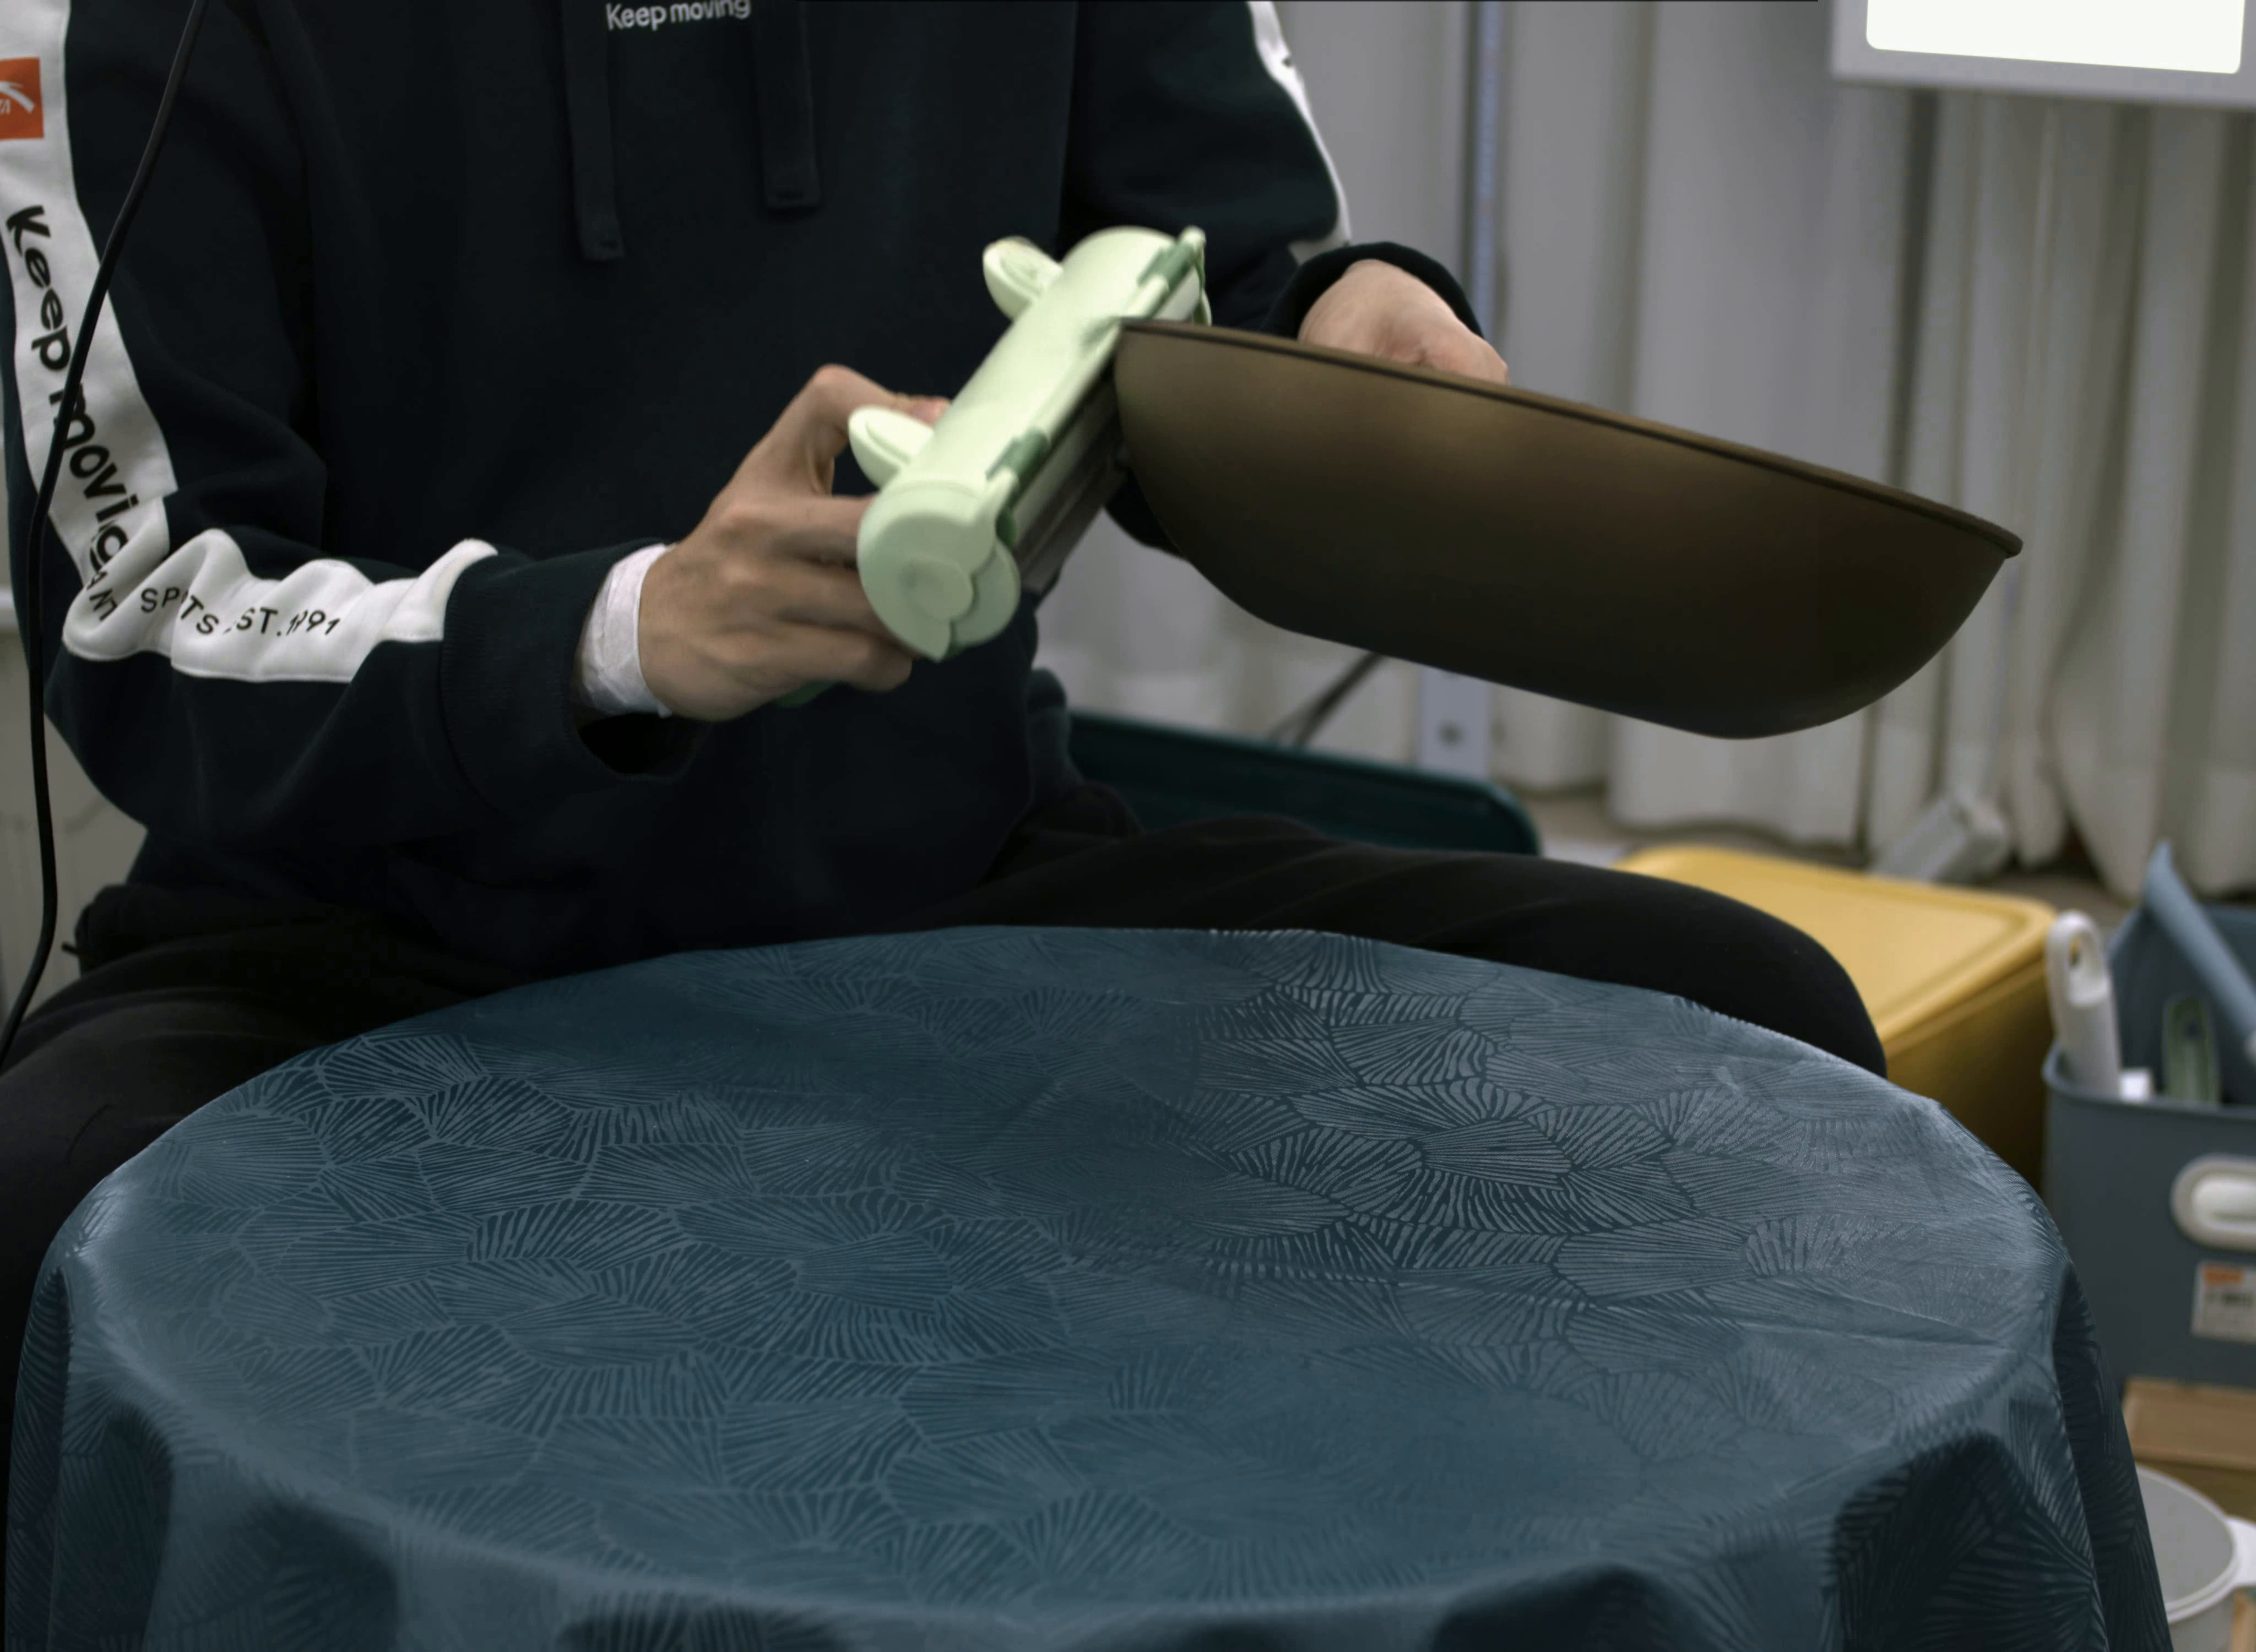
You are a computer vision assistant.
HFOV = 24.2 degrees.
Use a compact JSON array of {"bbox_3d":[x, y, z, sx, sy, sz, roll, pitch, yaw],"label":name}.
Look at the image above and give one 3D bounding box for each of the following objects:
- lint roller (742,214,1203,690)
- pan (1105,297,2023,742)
[{"bbox_3d":[-0.073,-0.109,1.646,0.182,0.083,0.198,-28,18,33],"label":"lint roller"},{"bbox_3d":[0.097,-0.092,1.662,0.289,0.087,0.460,14,1,-16],"label":"pan"}]
